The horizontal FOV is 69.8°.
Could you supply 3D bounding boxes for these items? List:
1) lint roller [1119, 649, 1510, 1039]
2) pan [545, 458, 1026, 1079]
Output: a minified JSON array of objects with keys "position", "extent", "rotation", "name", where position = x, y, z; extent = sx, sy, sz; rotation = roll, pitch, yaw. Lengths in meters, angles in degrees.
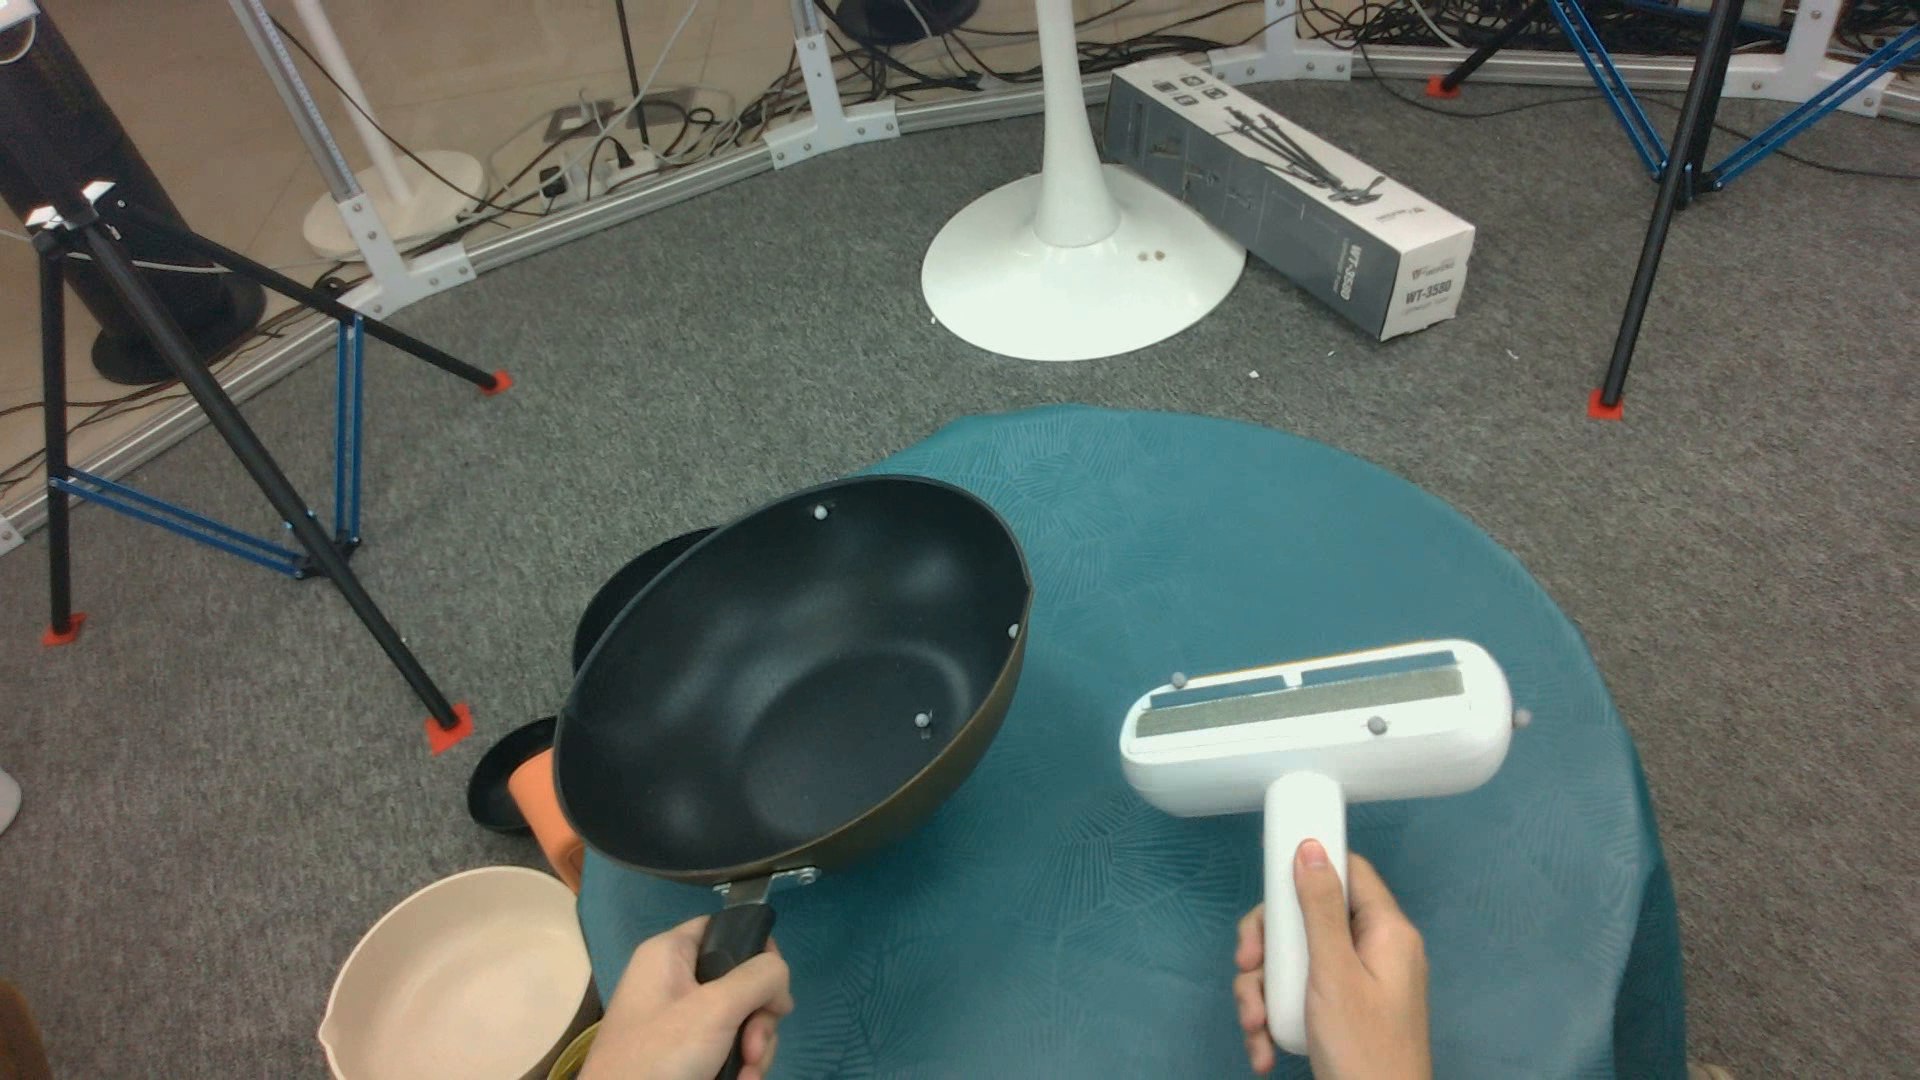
[{"position":[0.160,0.137,0.658],"extent":[0.192,0.074,0.193],"rotation":[-3,43,25],"name":"lint roller"},{"position":[-0.091,0.141,0.703],"extent":[0.287,0.086,0.465],"rotation":[-14,40,16],"name":"pan"}]
